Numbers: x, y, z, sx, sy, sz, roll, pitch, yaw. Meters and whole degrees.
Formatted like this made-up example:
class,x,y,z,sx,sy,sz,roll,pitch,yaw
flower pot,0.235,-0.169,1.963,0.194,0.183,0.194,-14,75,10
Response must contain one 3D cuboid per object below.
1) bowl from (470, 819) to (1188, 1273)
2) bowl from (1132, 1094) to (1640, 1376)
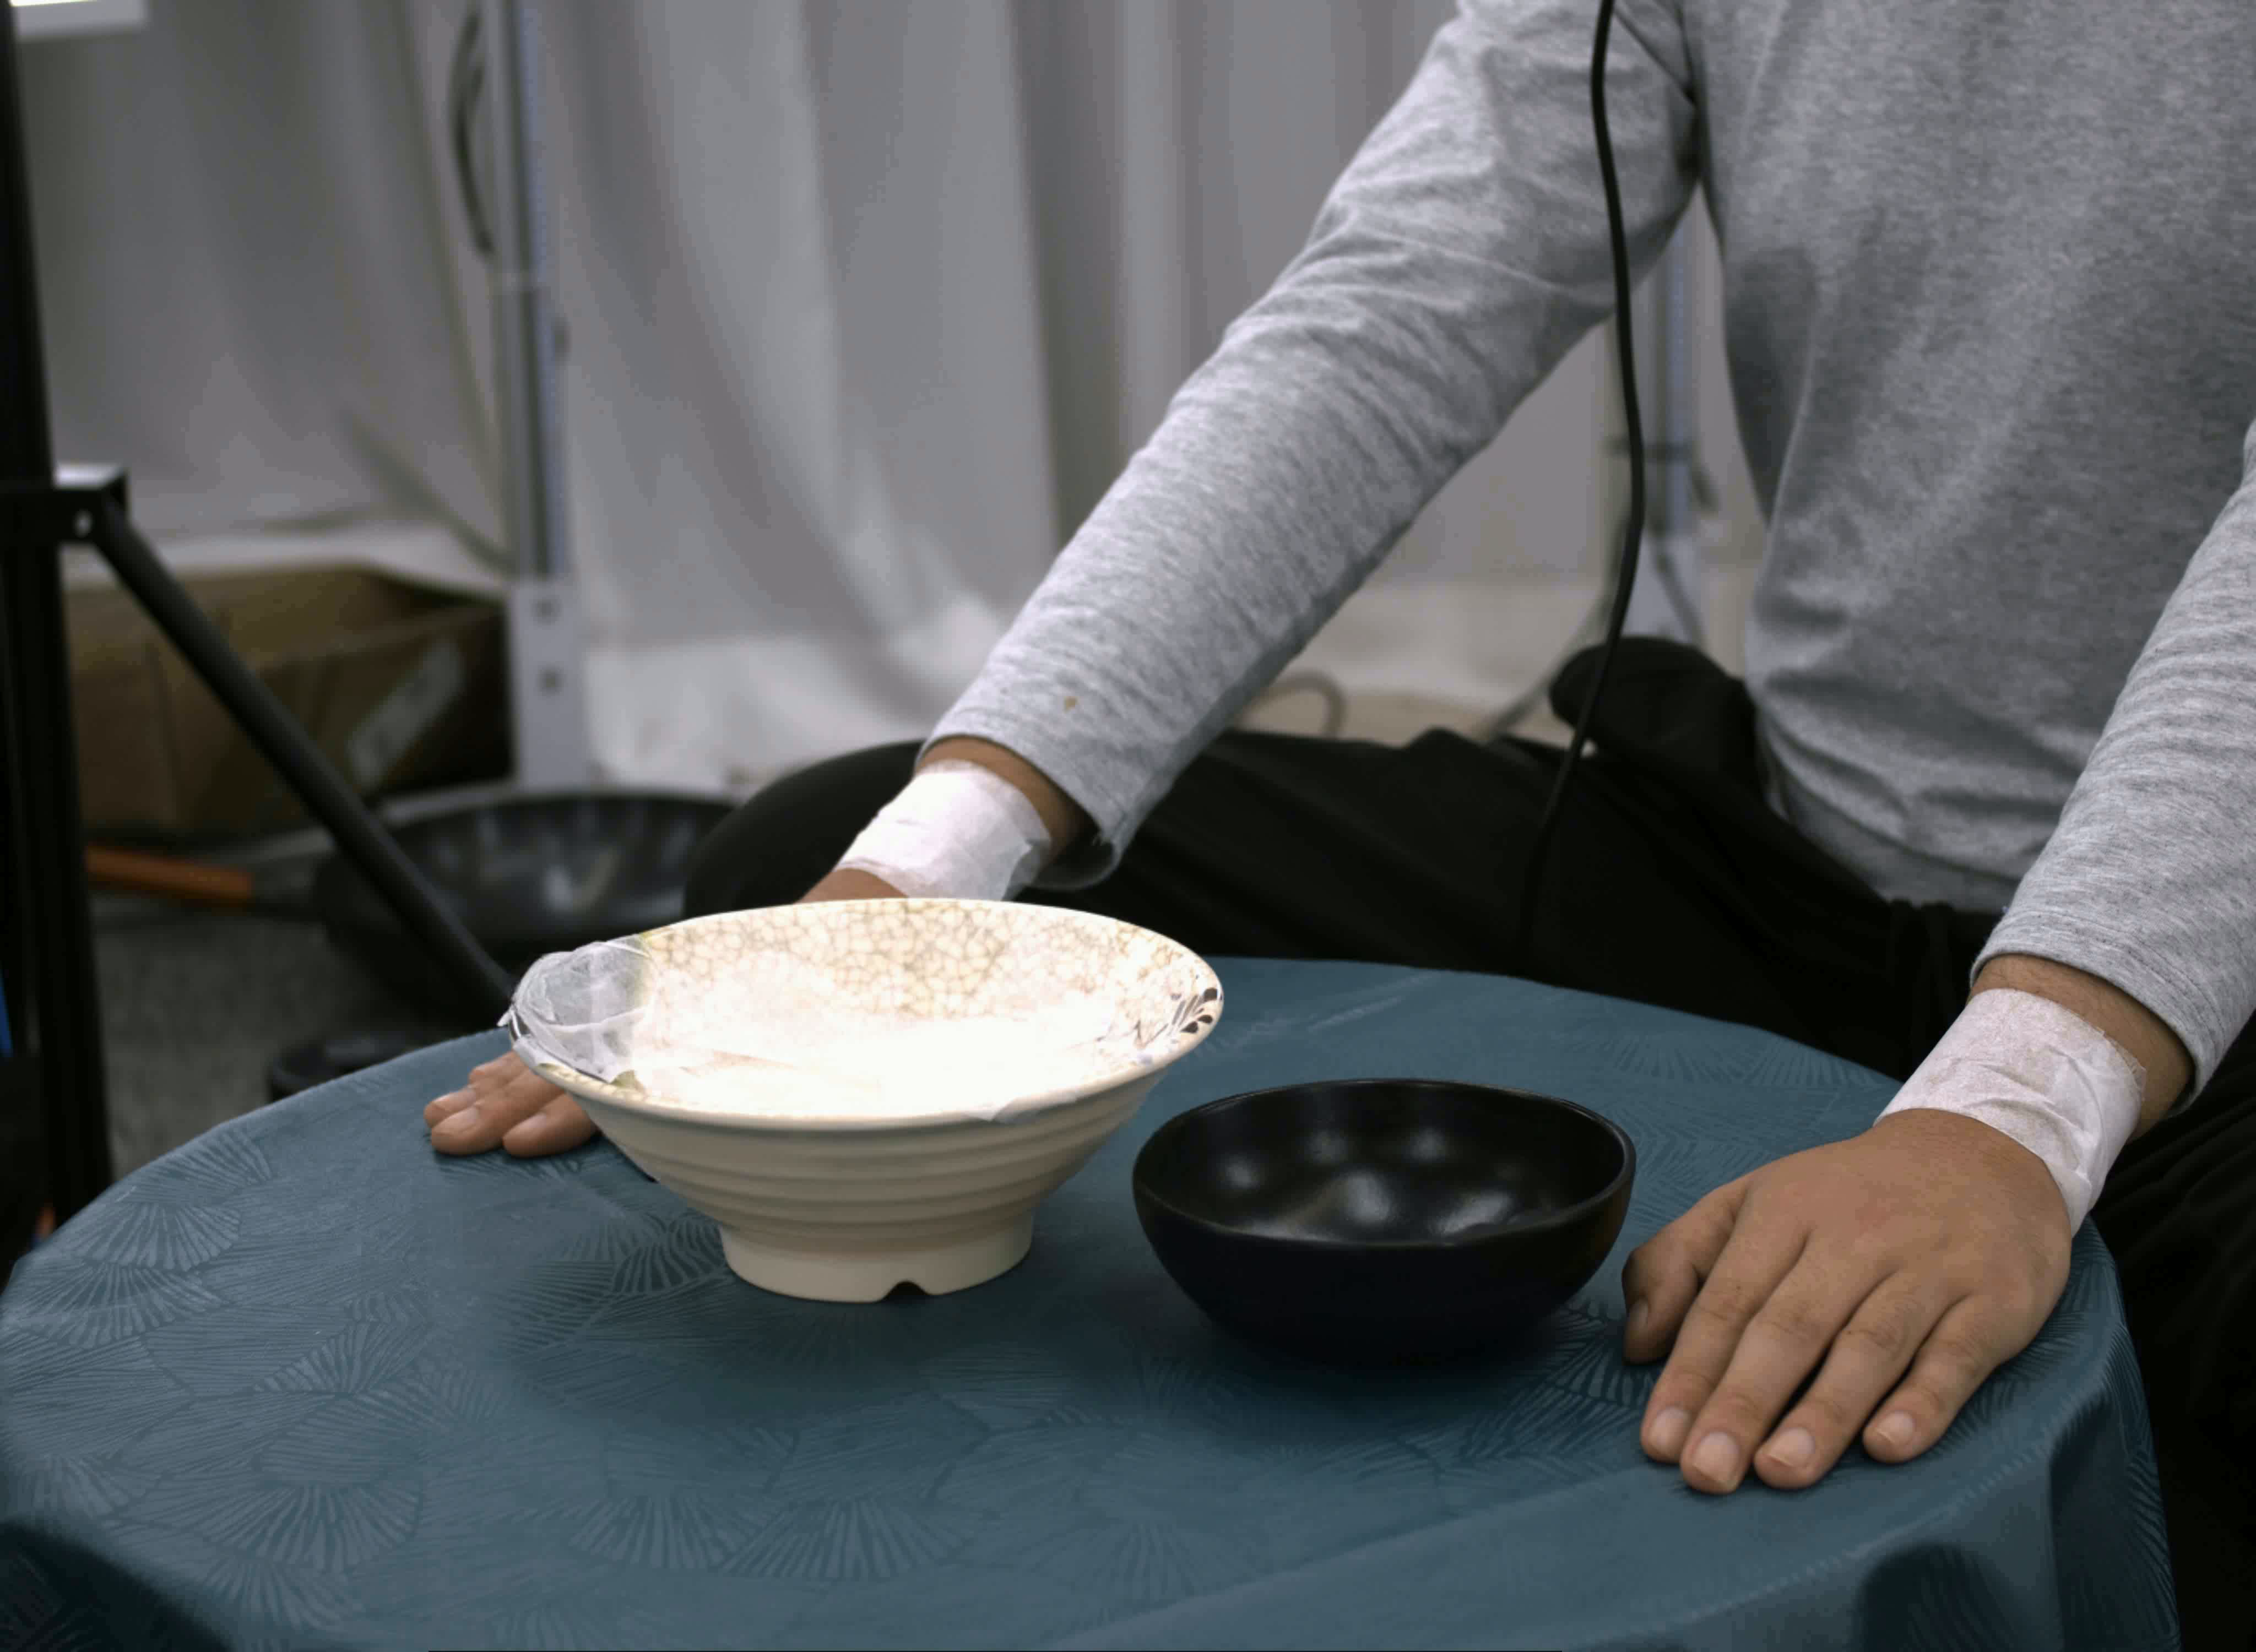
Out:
class,x,y,z,sx,sy,sz,roll,pitch,yaw
bowl,-0.082,0.073,1.515,0.203,0.078,0.205,-5,22,1
bowl,0.069,0.116,1.444,0.139,0.050,0.140,2,13,-2
